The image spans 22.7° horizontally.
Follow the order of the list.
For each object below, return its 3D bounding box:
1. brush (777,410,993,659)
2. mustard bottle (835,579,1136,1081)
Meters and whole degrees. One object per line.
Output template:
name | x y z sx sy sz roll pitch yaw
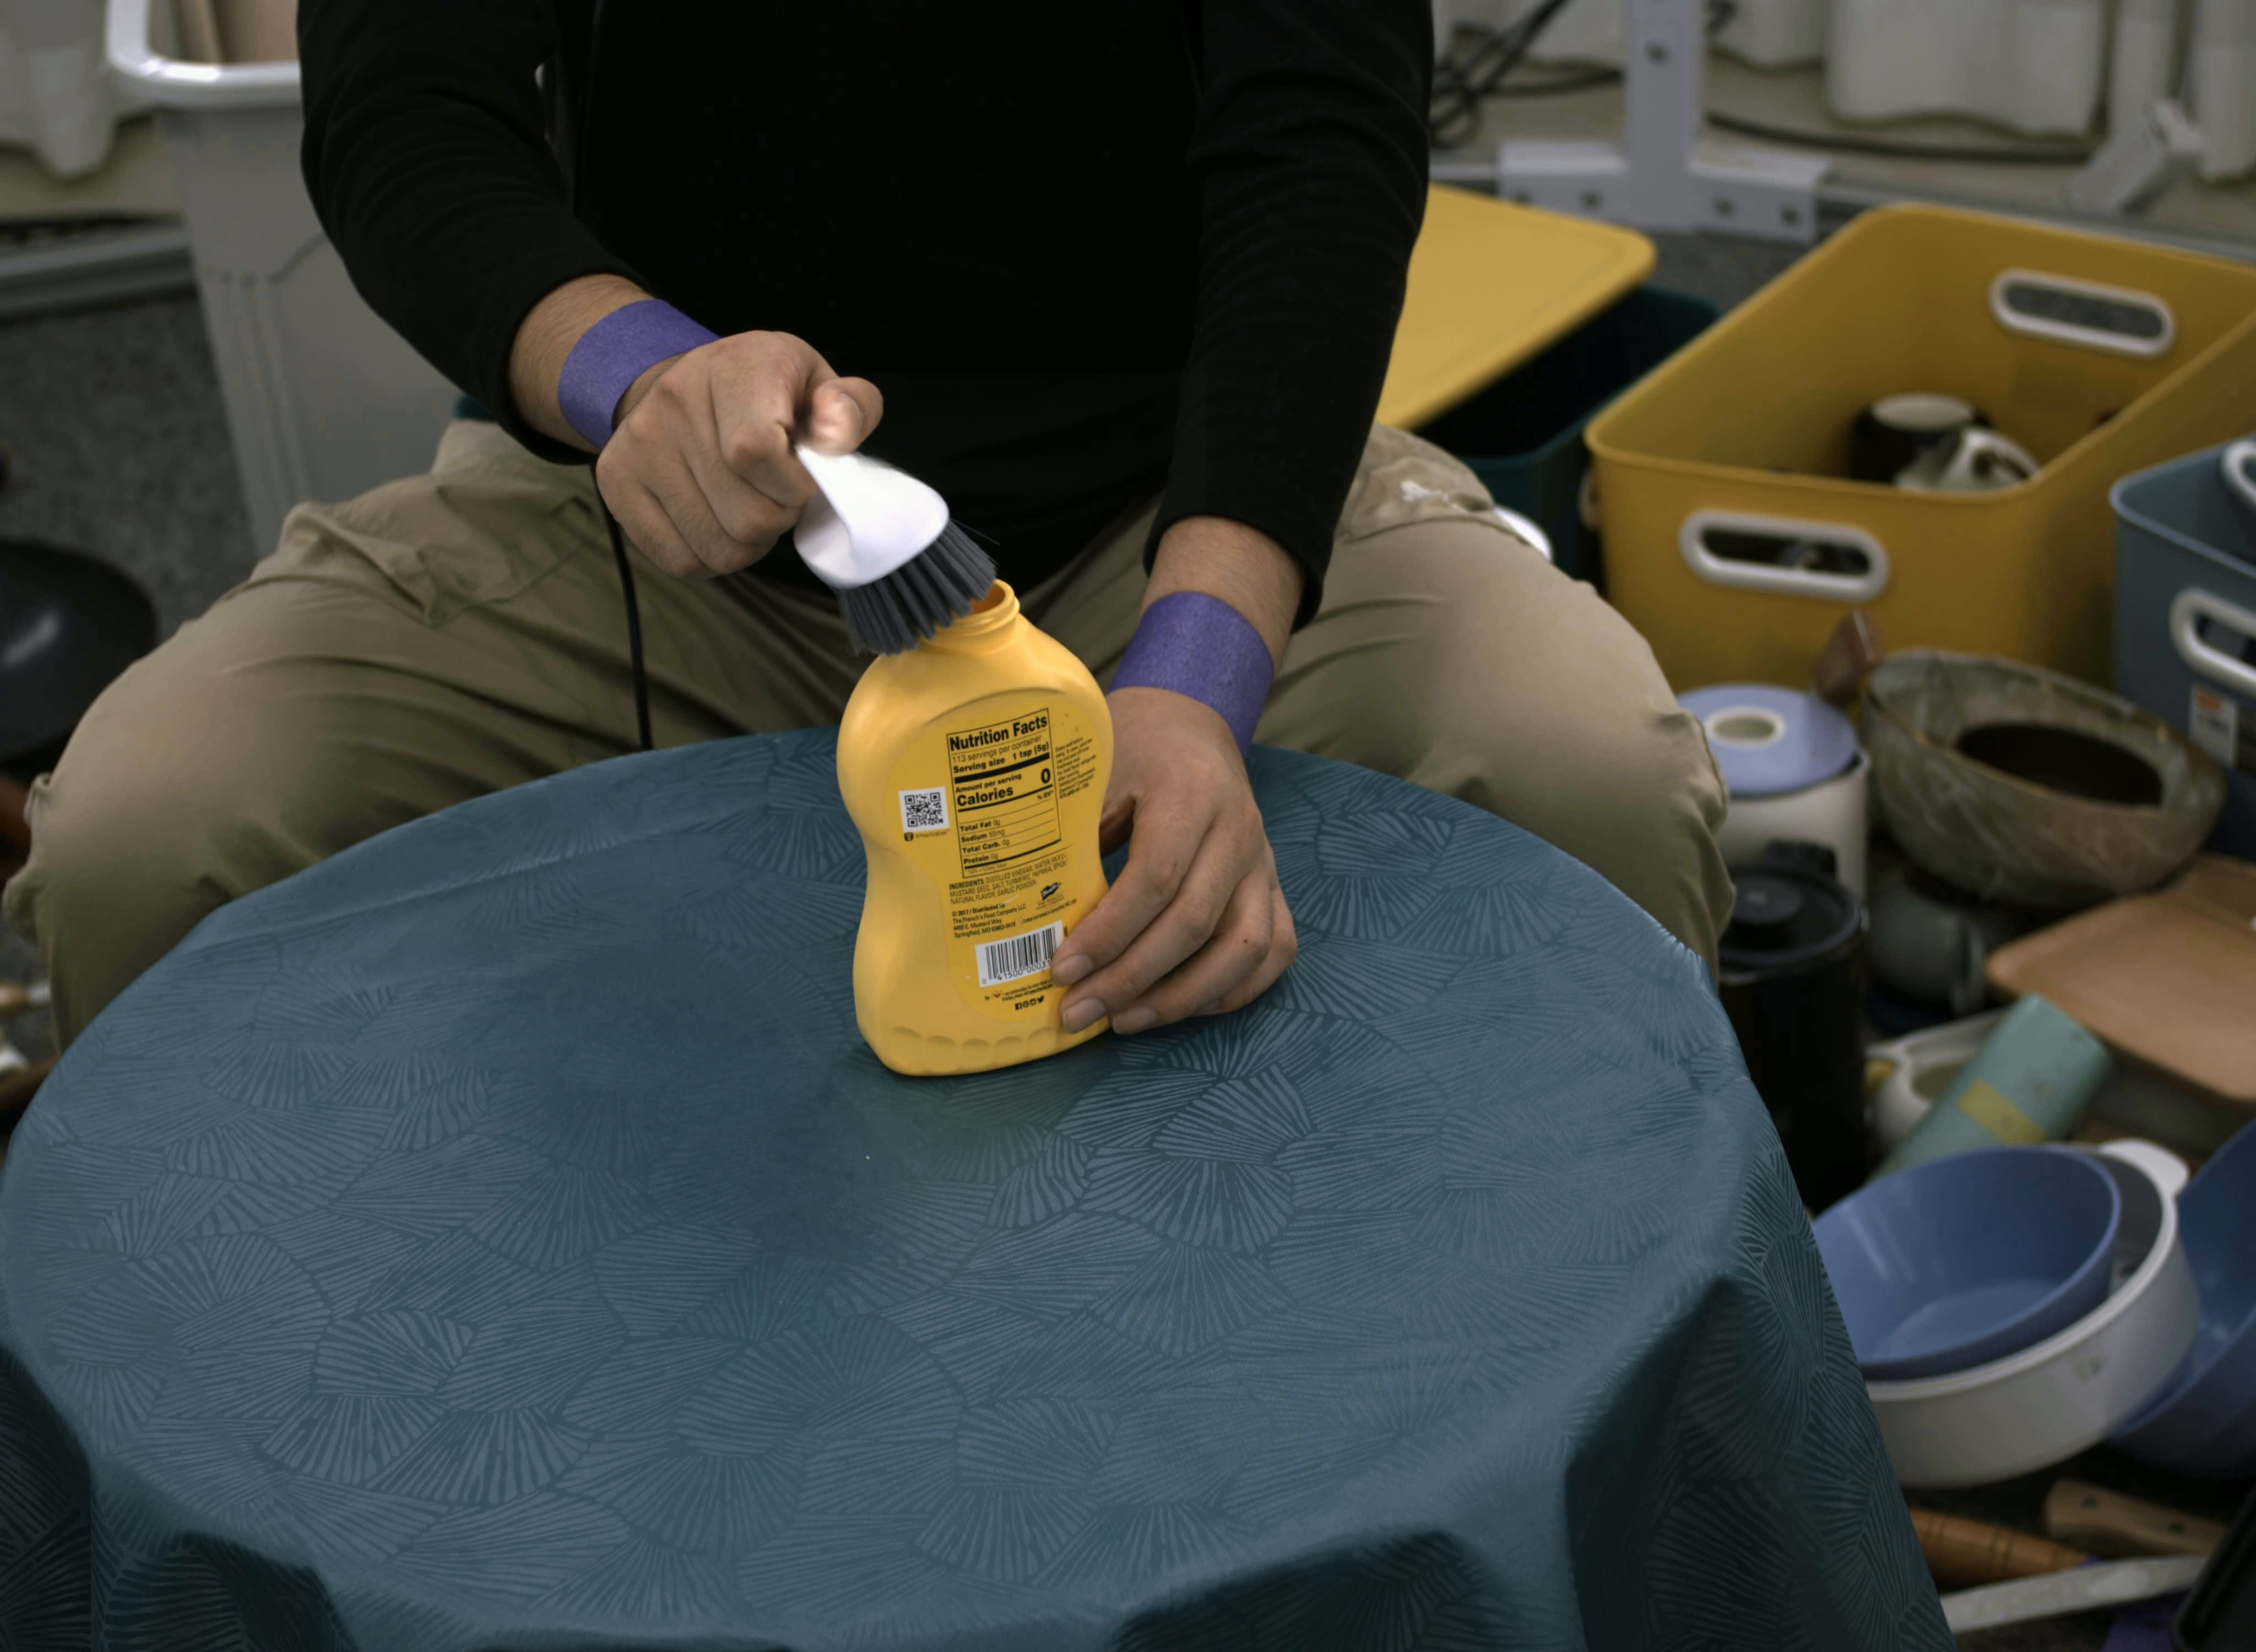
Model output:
brush | -0.089 -0.104 1.871 0.050 0.072 0.099 -34 19 -3
mustard bottle | -0.051 -0.001 1.923 0.098 0.170 0.059 -15 26 -19
